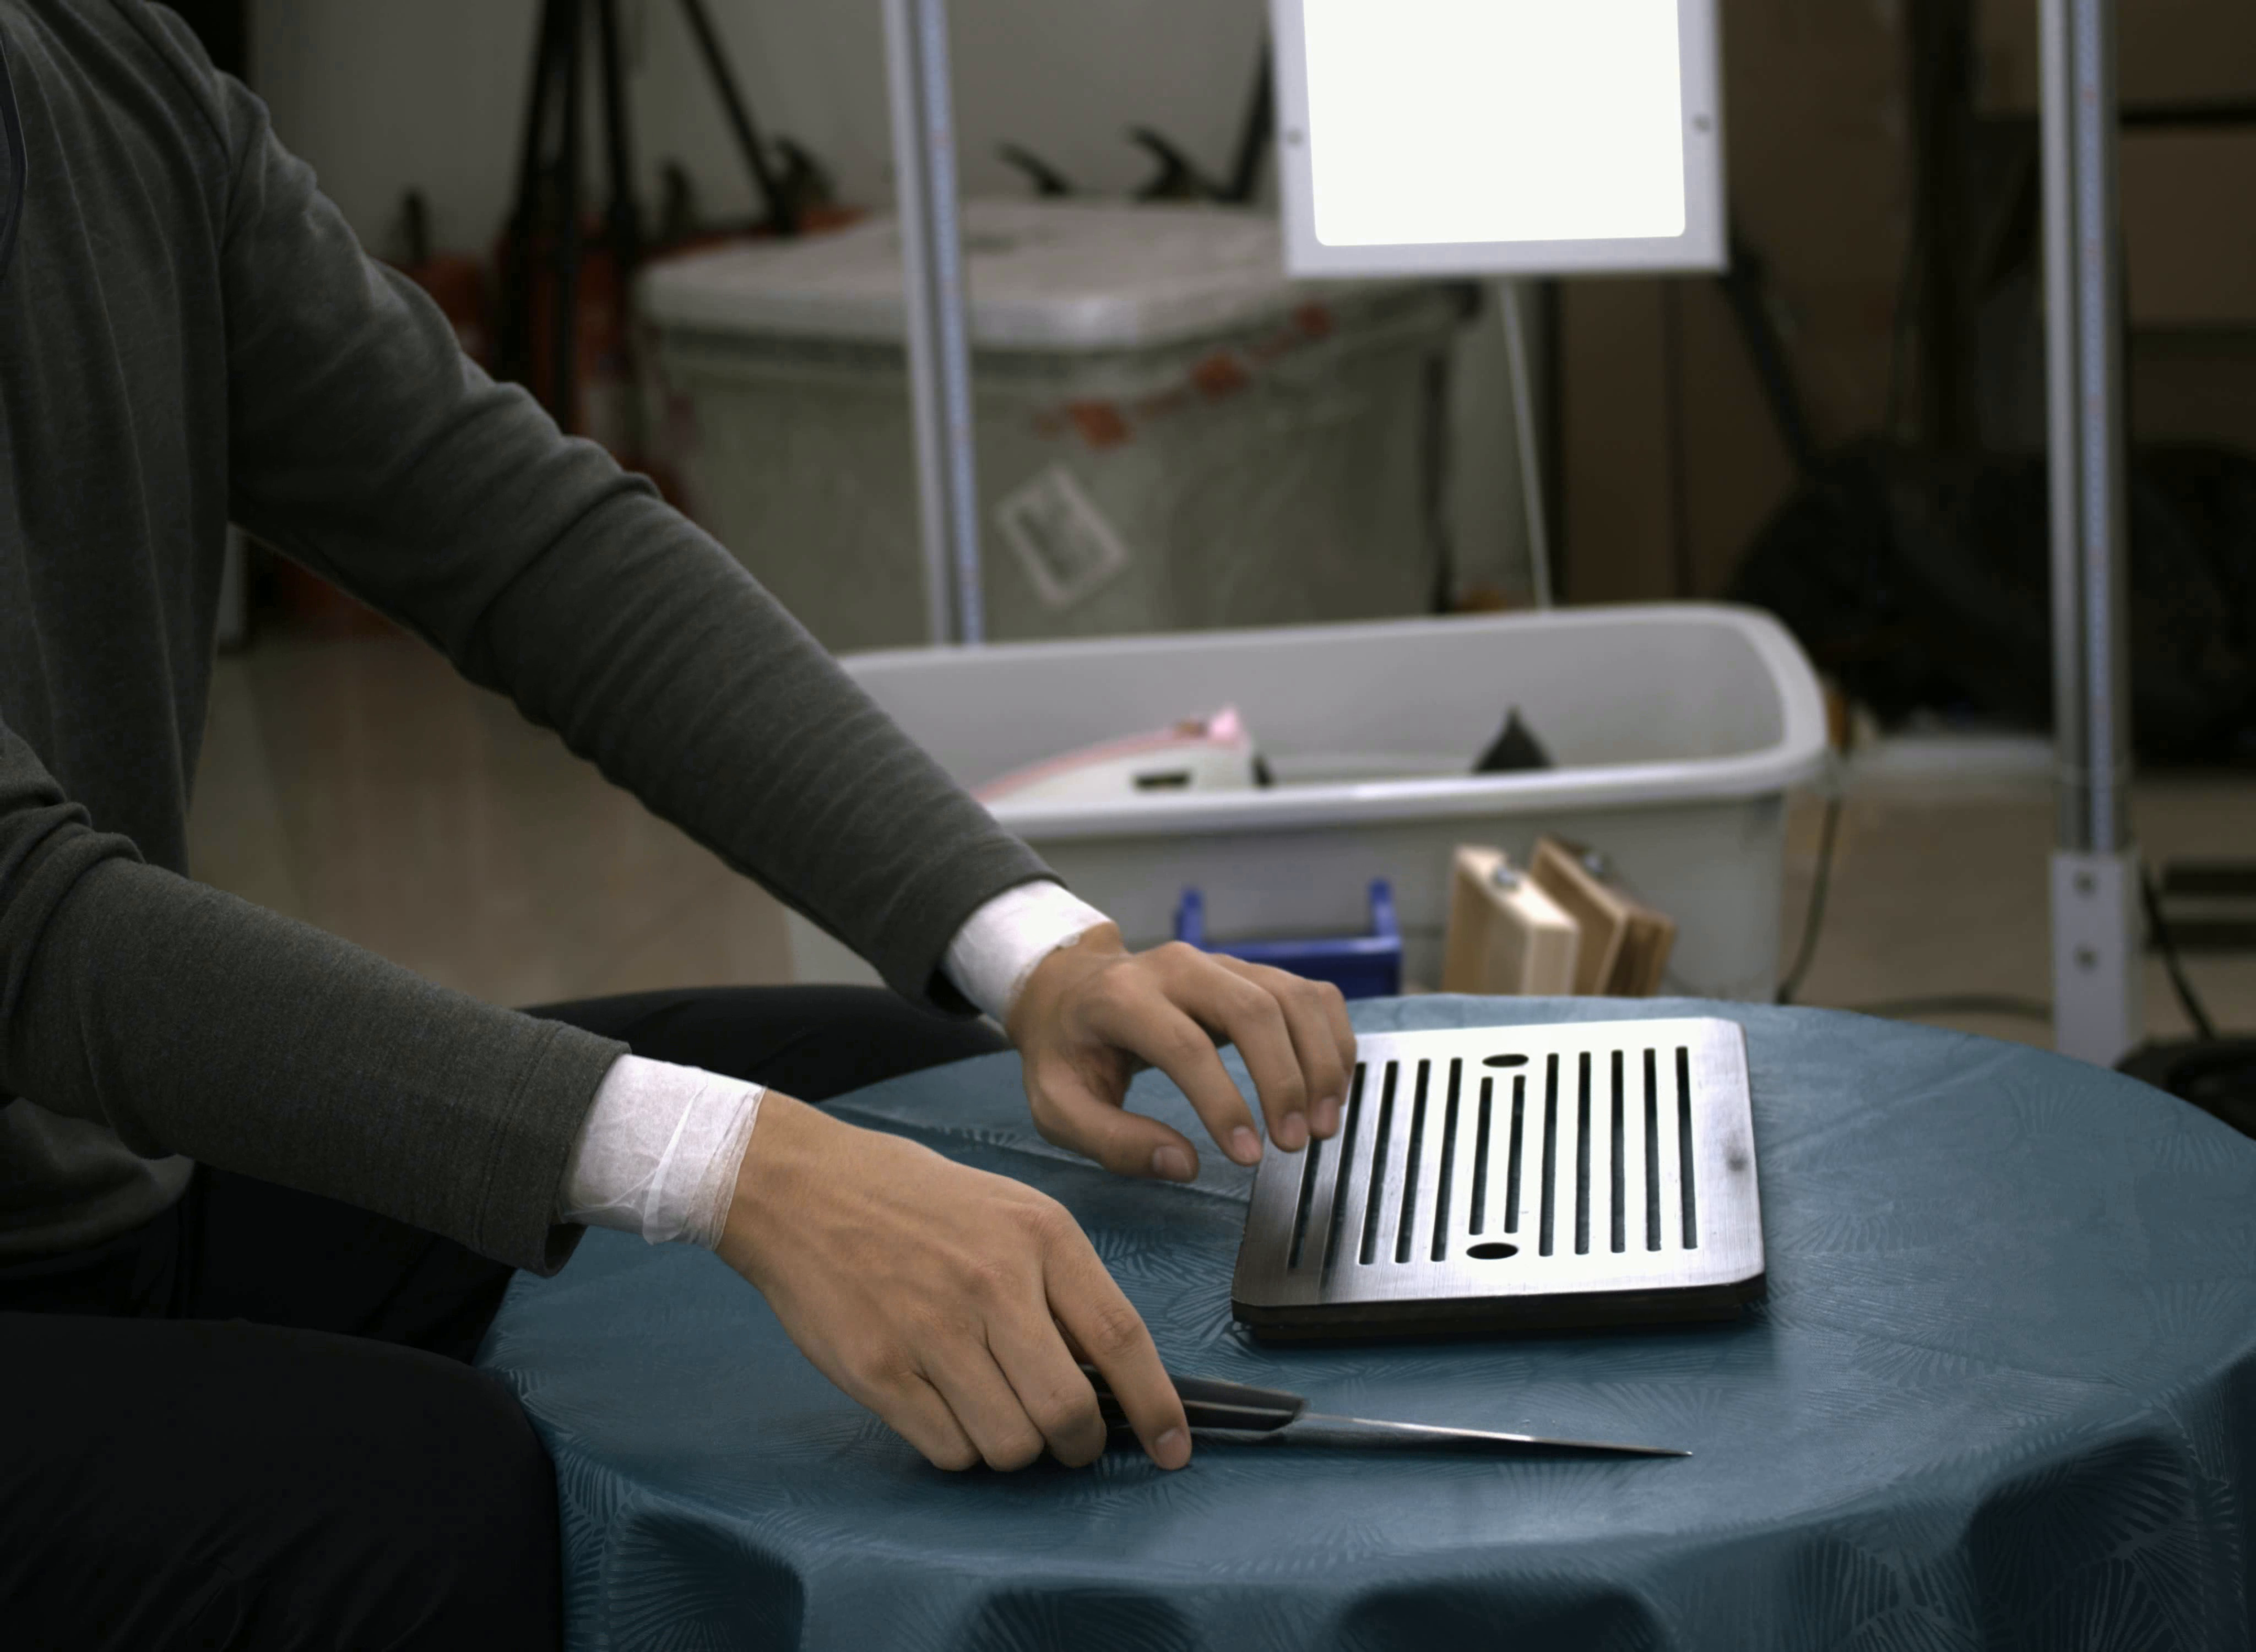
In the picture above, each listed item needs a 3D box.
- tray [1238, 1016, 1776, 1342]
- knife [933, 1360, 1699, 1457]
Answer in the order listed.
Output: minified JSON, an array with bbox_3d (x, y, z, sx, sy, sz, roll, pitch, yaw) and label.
[{"bbox_3d":[0.131,0.117,1.857,0.171,0.019,0.304,-4,14,7],"label":"tray"},{"bbox_3d":[0.053,0.177,1.644,0.241,0.016,0.024,4,4,18],"label":"knife"}]
